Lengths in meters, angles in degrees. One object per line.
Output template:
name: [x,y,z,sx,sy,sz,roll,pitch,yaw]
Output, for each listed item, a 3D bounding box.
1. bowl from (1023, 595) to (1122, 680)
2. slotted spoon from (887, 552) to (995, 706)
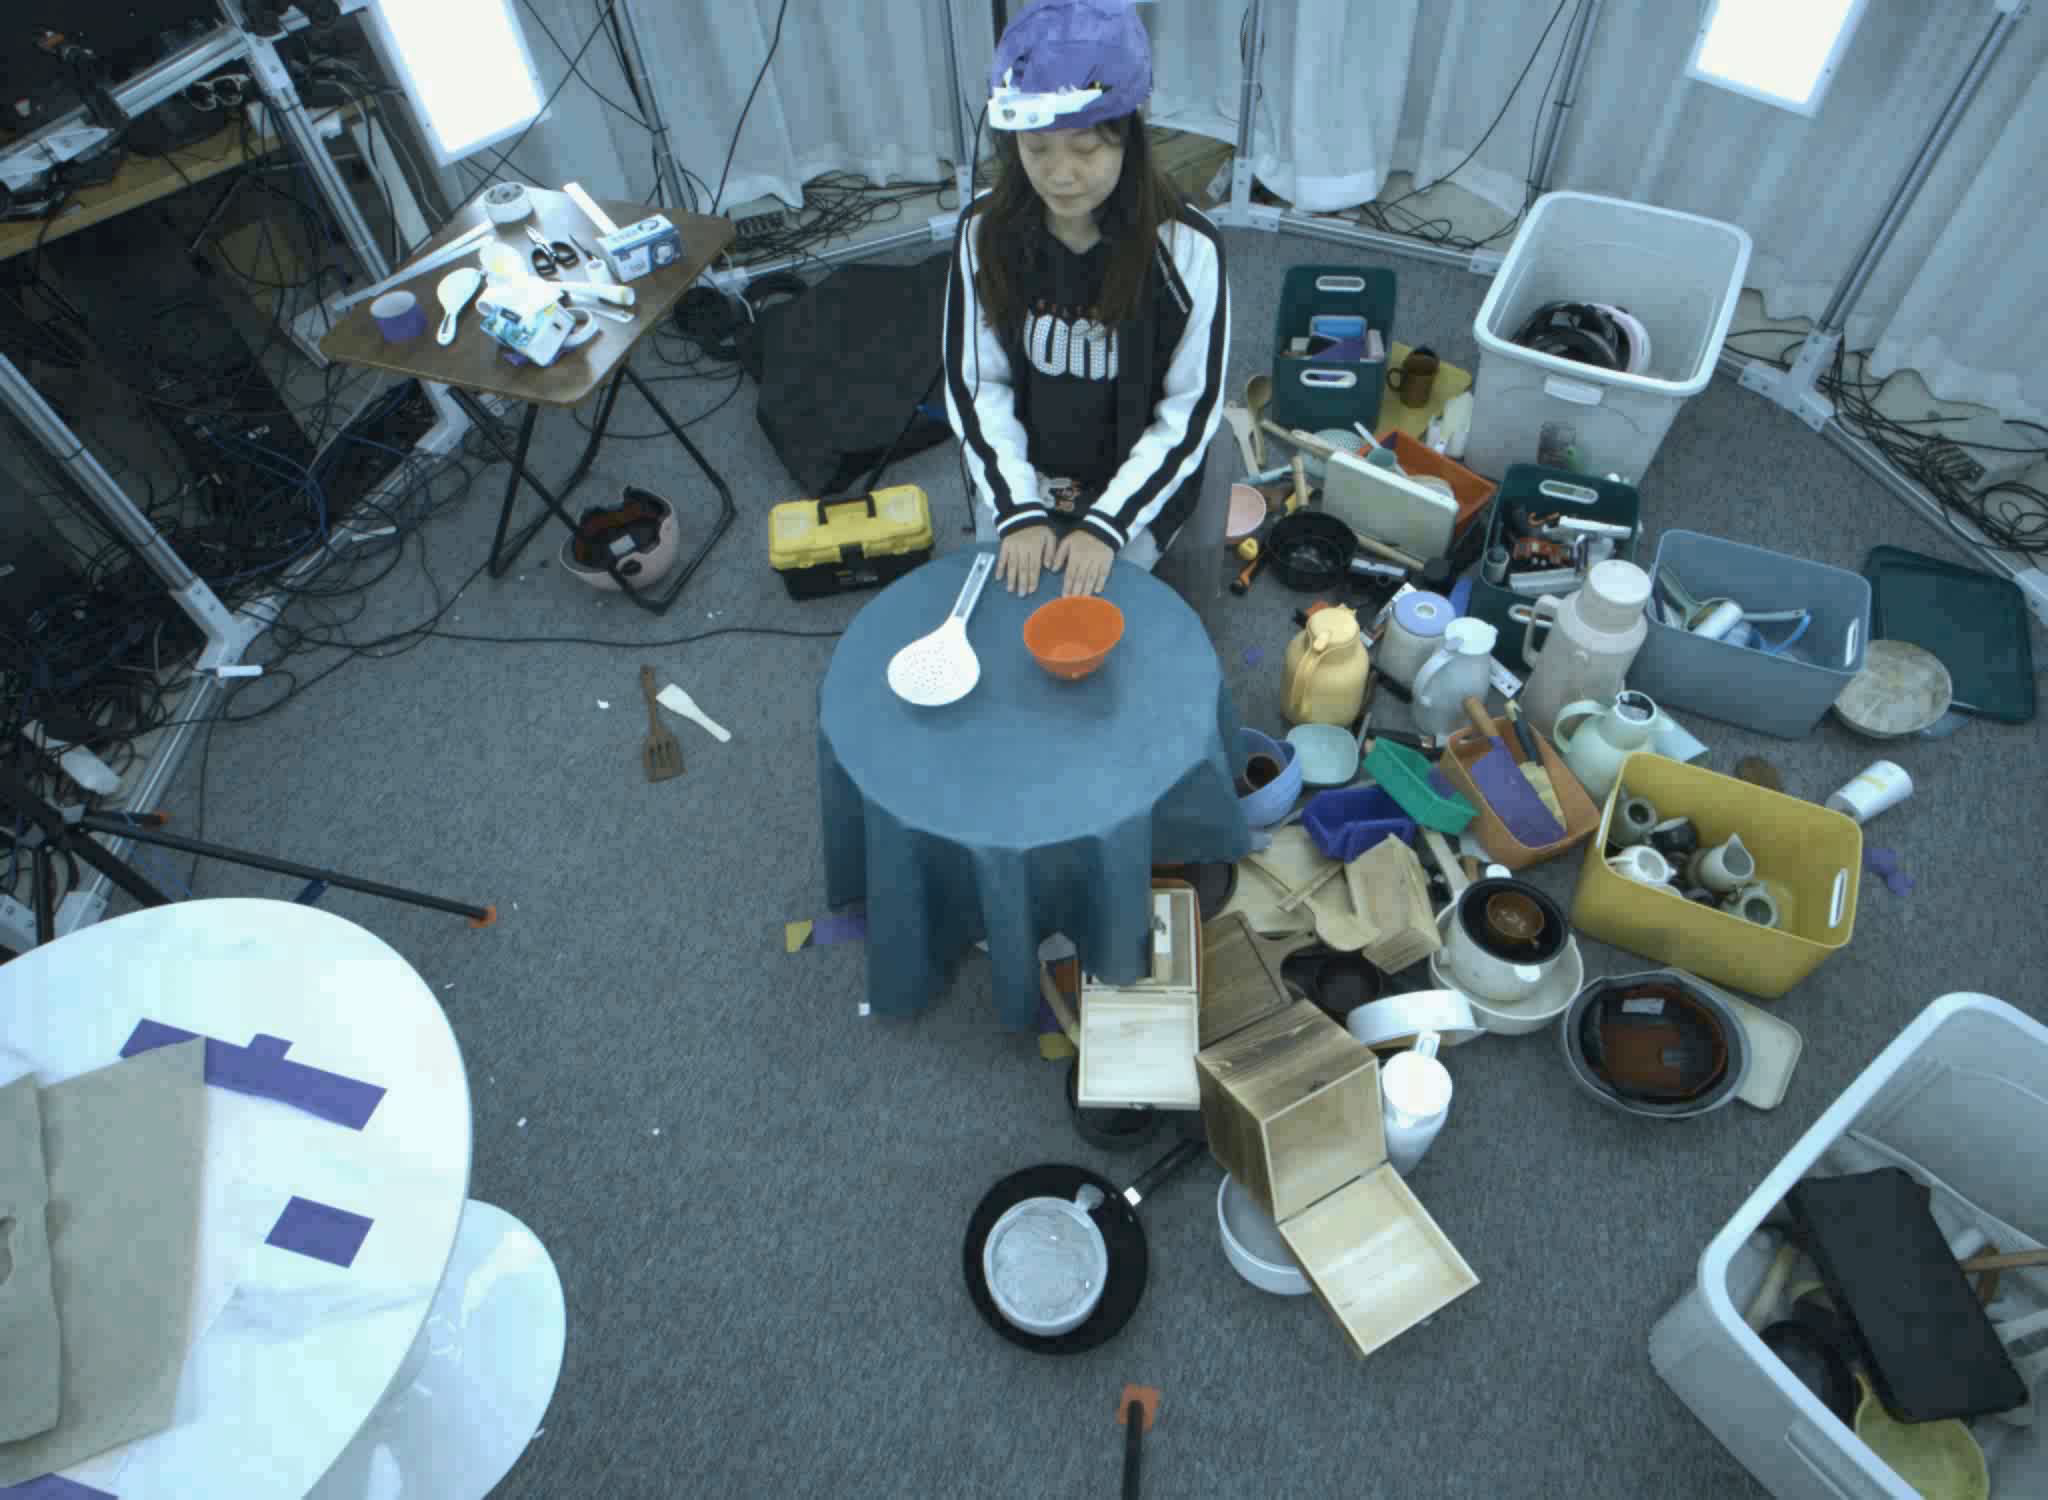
bowl: [0.074,-0.154,1.833,0.148,0.106,0.146,-2,54,4]
slotted spoon: [-0.108,-0.192,1.900,0.135,0.046,0.348,13,56,9]
